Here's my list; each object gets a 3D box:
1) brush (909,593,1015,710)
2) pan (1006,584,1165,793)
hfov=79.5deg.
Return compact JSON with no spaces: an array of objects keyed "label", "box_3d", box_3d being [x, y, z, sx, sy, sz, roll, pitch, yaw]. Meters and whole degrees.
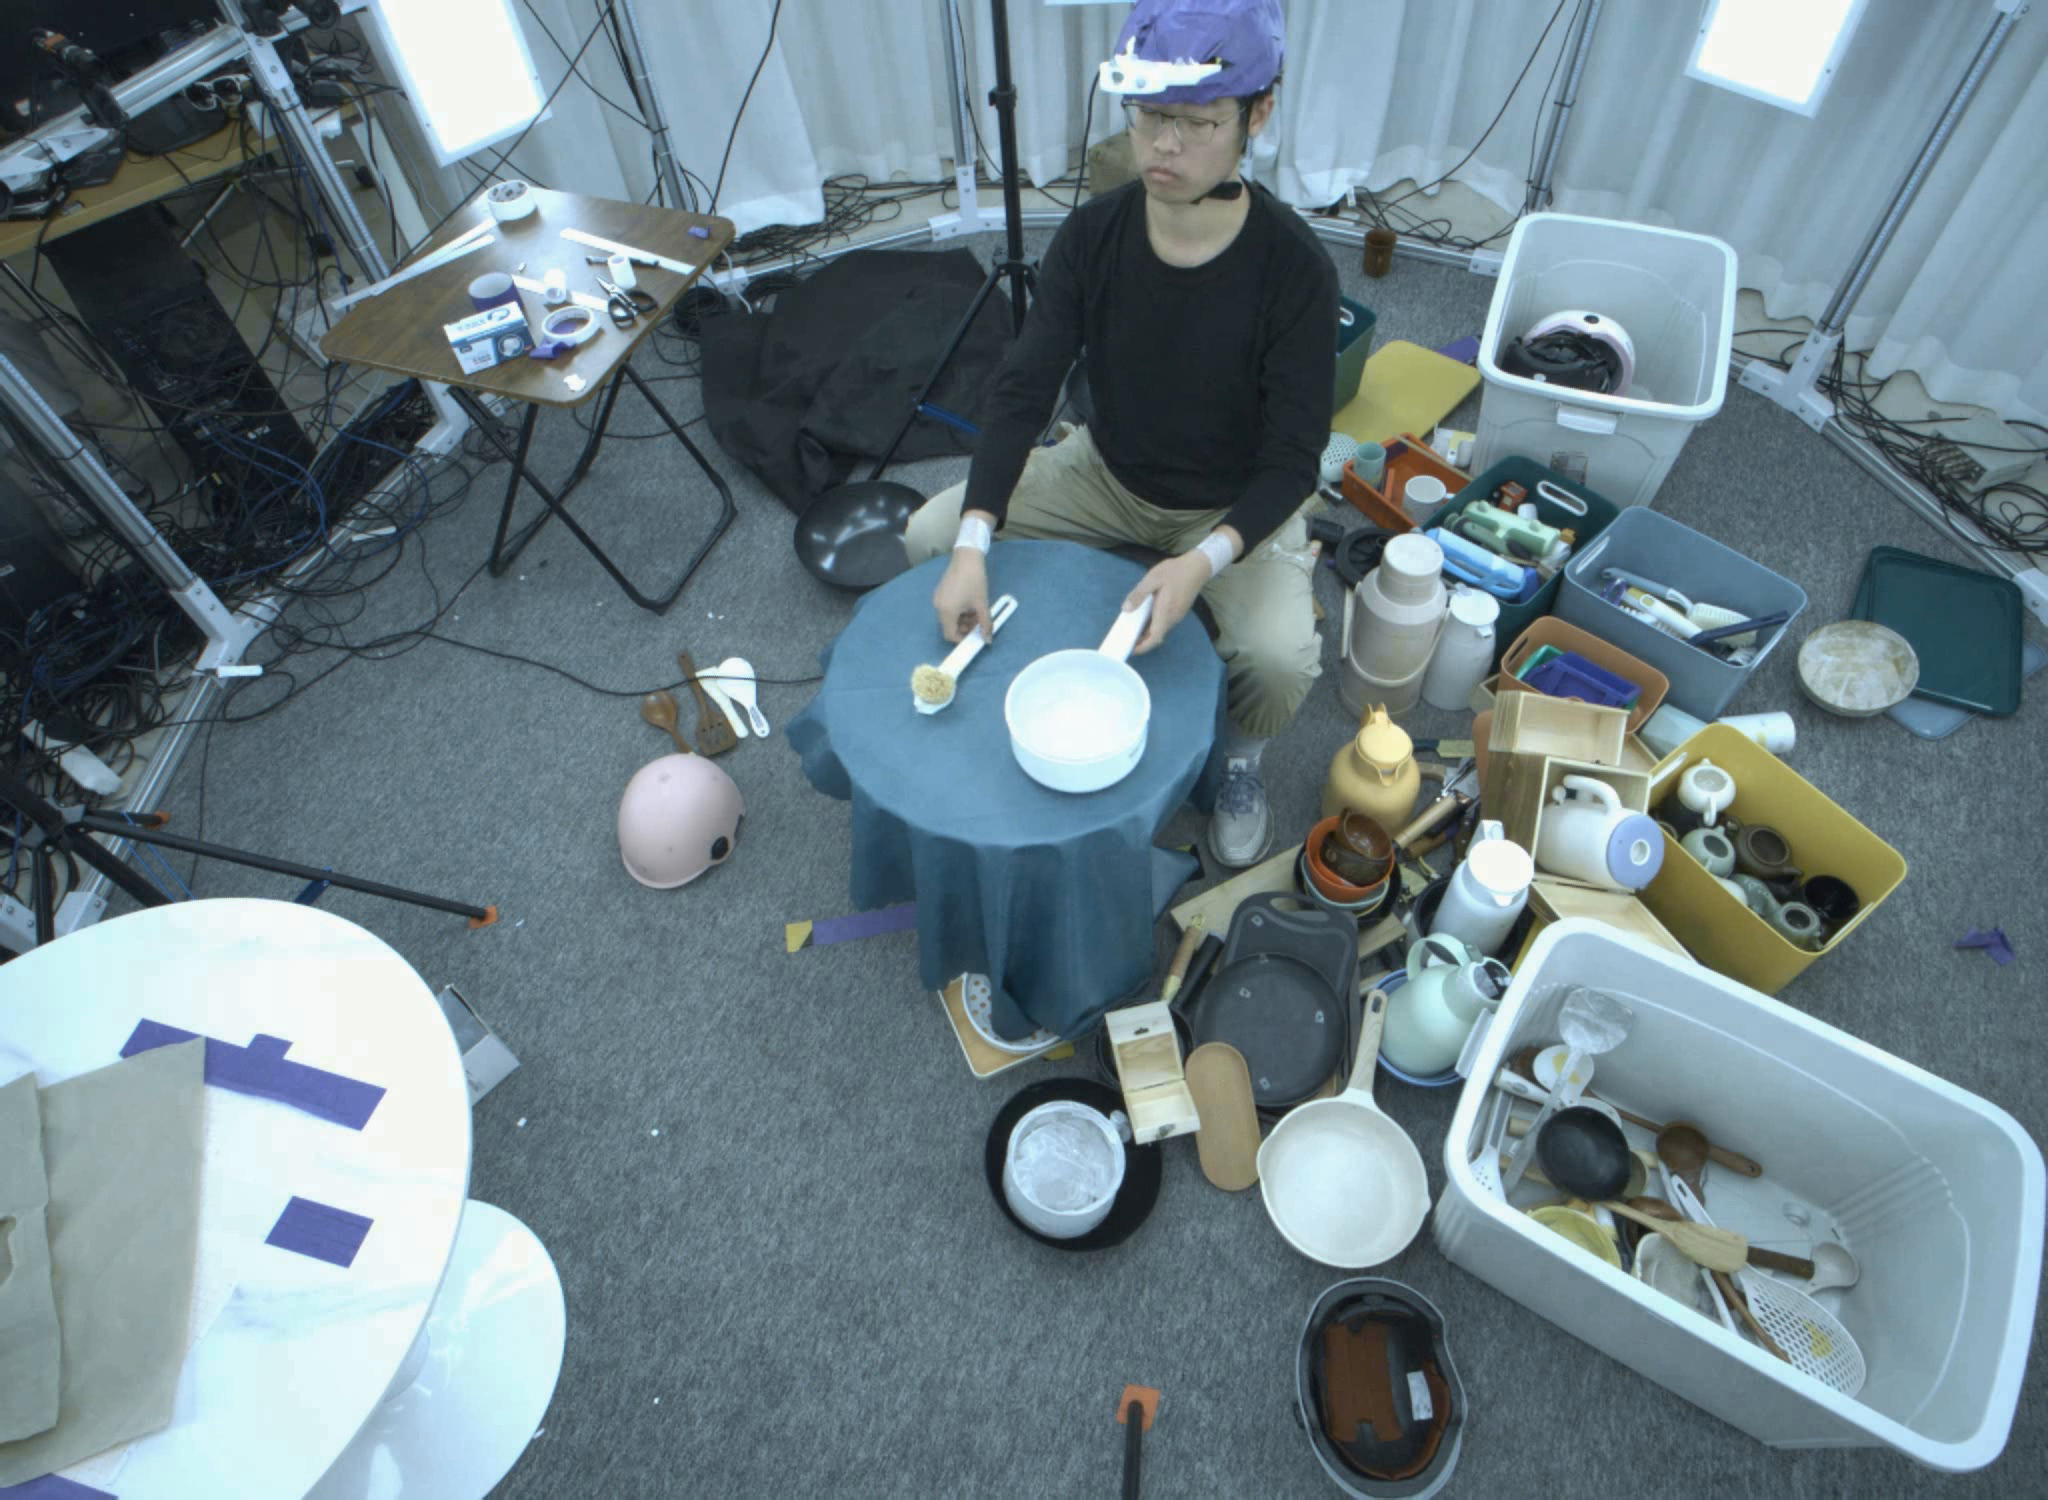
[{"label":"brush","box_3d":[-0.088,-0.166,1.872,0.068,0.056,0.267,35,60,4]},{"label":"pan","box_3d":[0.113,-0.091,1.790,0.198,0.103,0.355,21,57,18]}]
